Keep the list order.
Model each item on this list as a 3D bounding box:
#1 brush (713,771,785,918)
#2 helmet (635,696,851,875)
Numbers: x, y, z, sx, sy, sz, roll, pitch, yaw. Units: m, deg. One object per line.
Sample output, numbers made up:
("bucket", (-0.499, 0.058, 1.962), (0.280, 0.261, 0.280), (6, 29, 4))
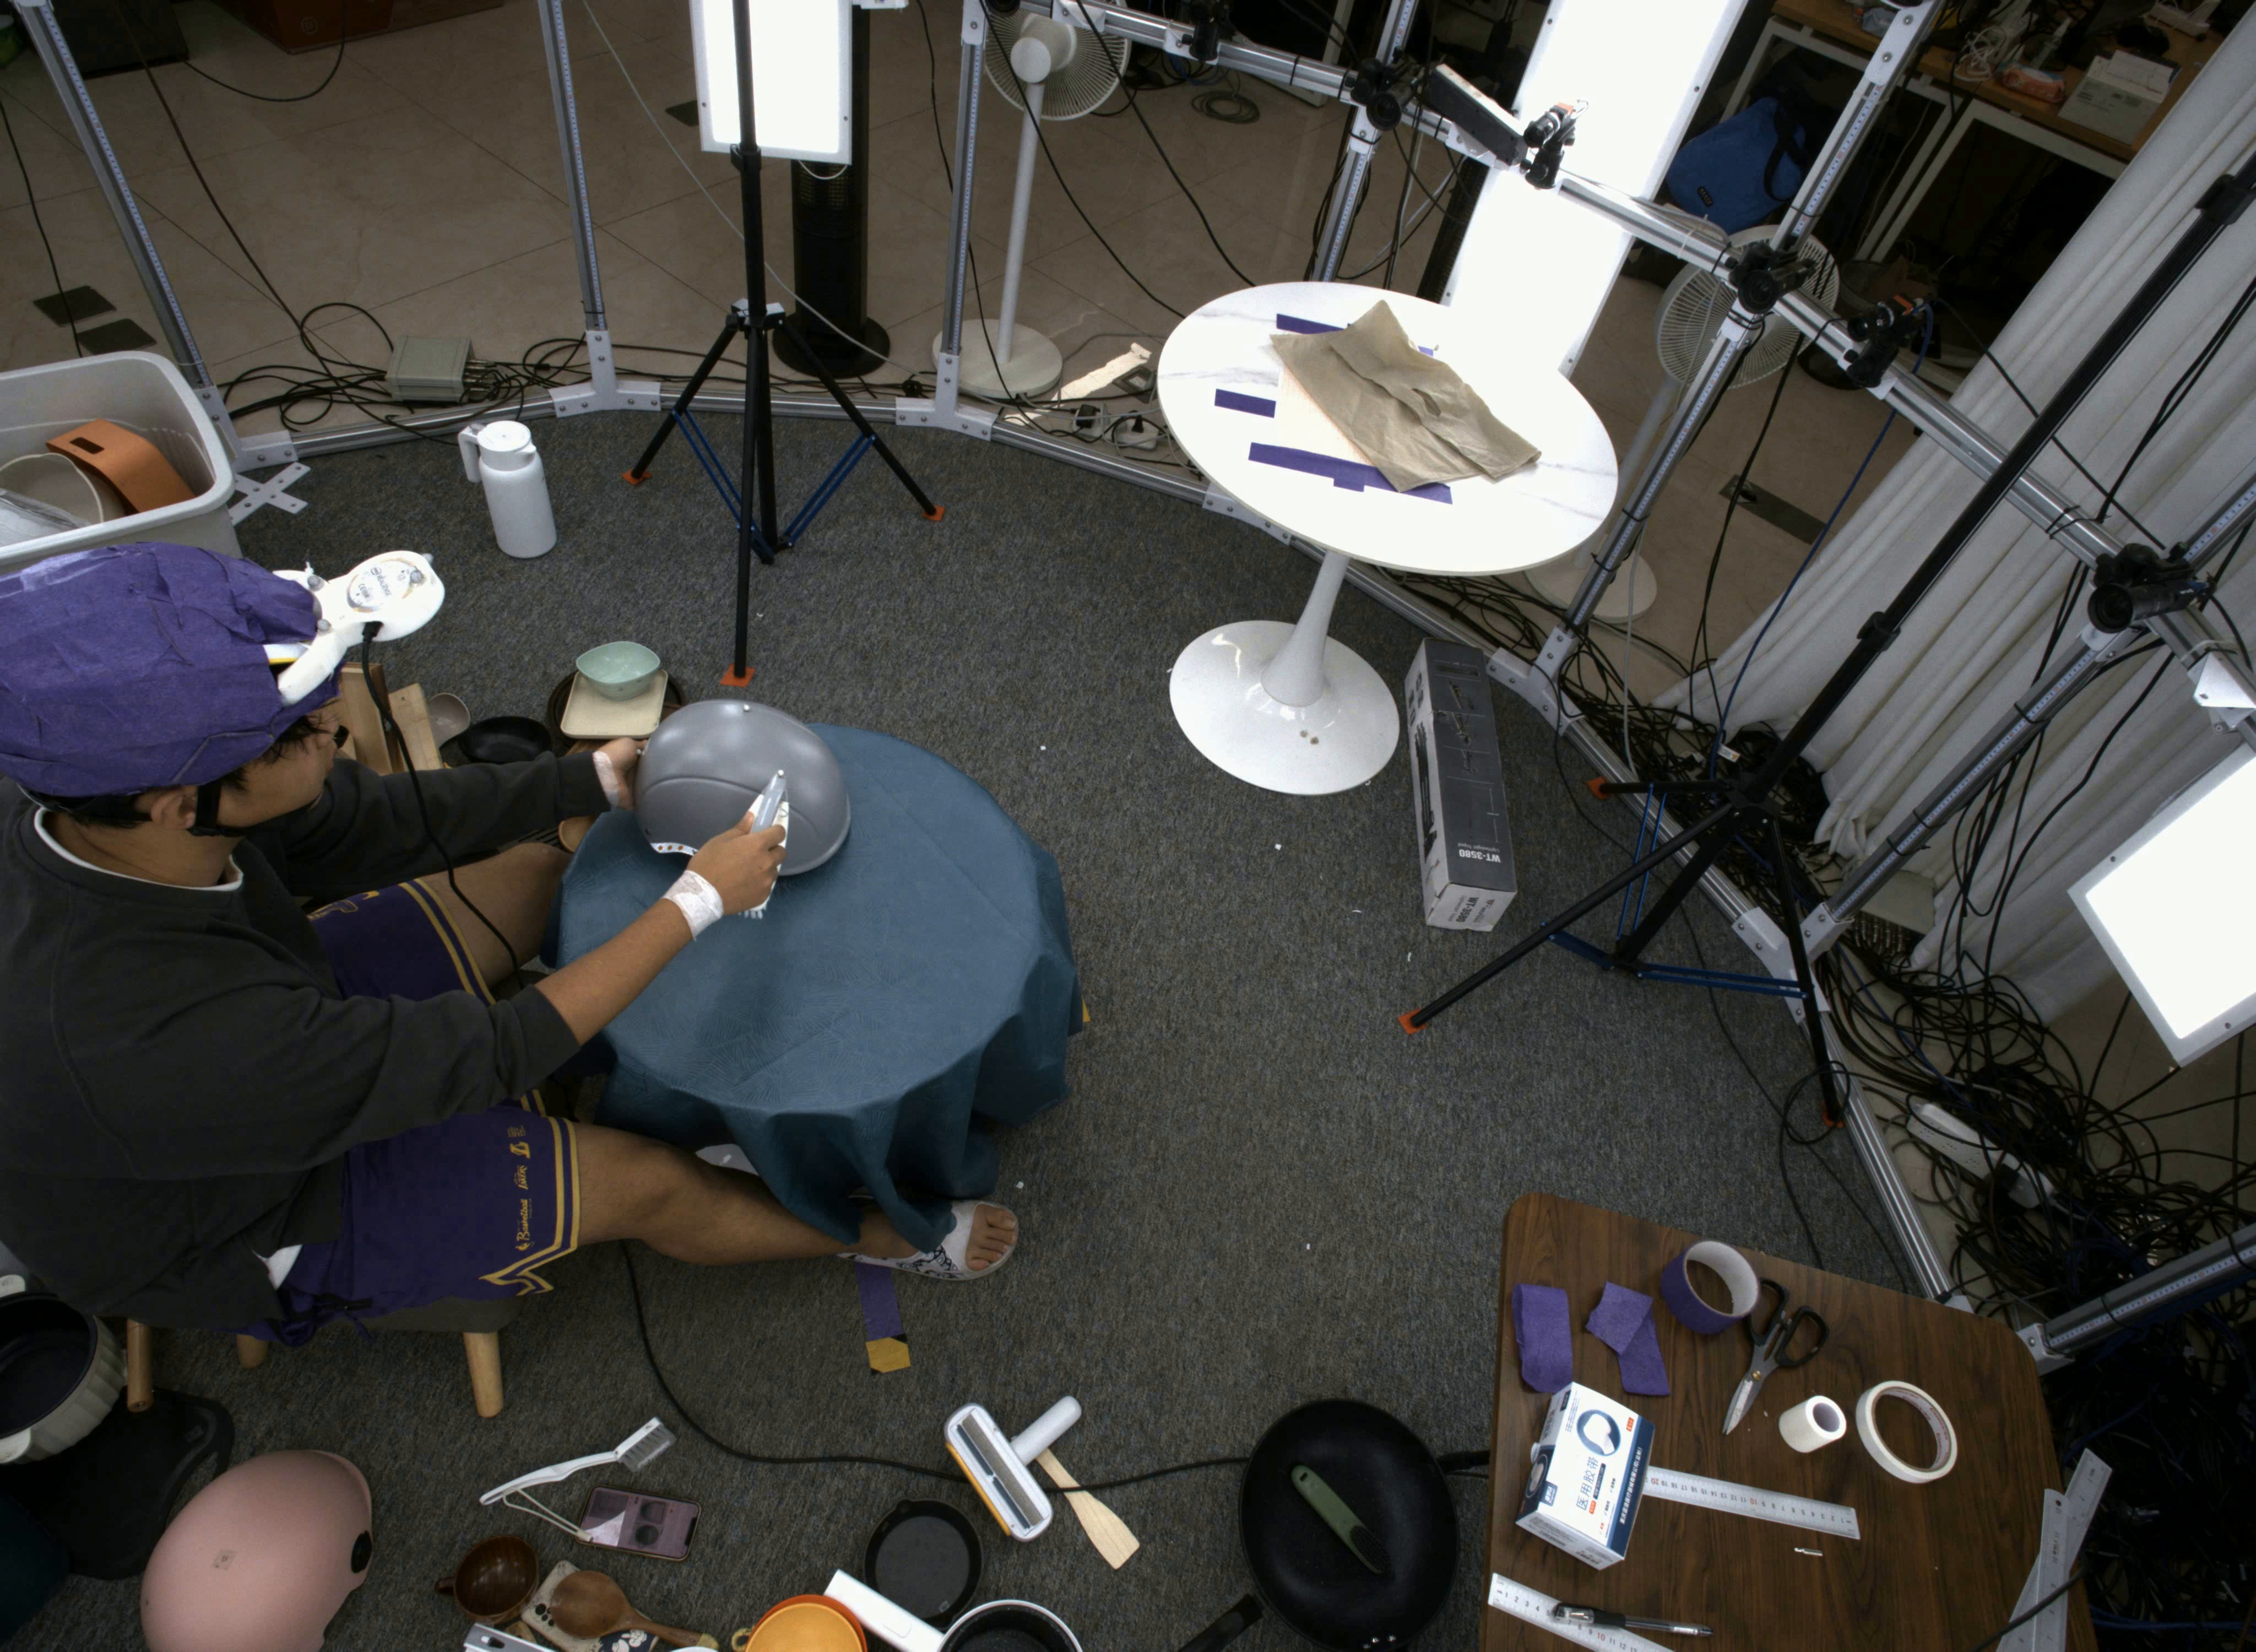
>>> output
("brush", (-0.427, 0.009, 1.489), (0.062, 0.094, 0.175), (18, 70, -13))
("helmet", (-0.485, -0.068, 1.632), (0.277, 0.170, 0.229), (12, 59, -11))
